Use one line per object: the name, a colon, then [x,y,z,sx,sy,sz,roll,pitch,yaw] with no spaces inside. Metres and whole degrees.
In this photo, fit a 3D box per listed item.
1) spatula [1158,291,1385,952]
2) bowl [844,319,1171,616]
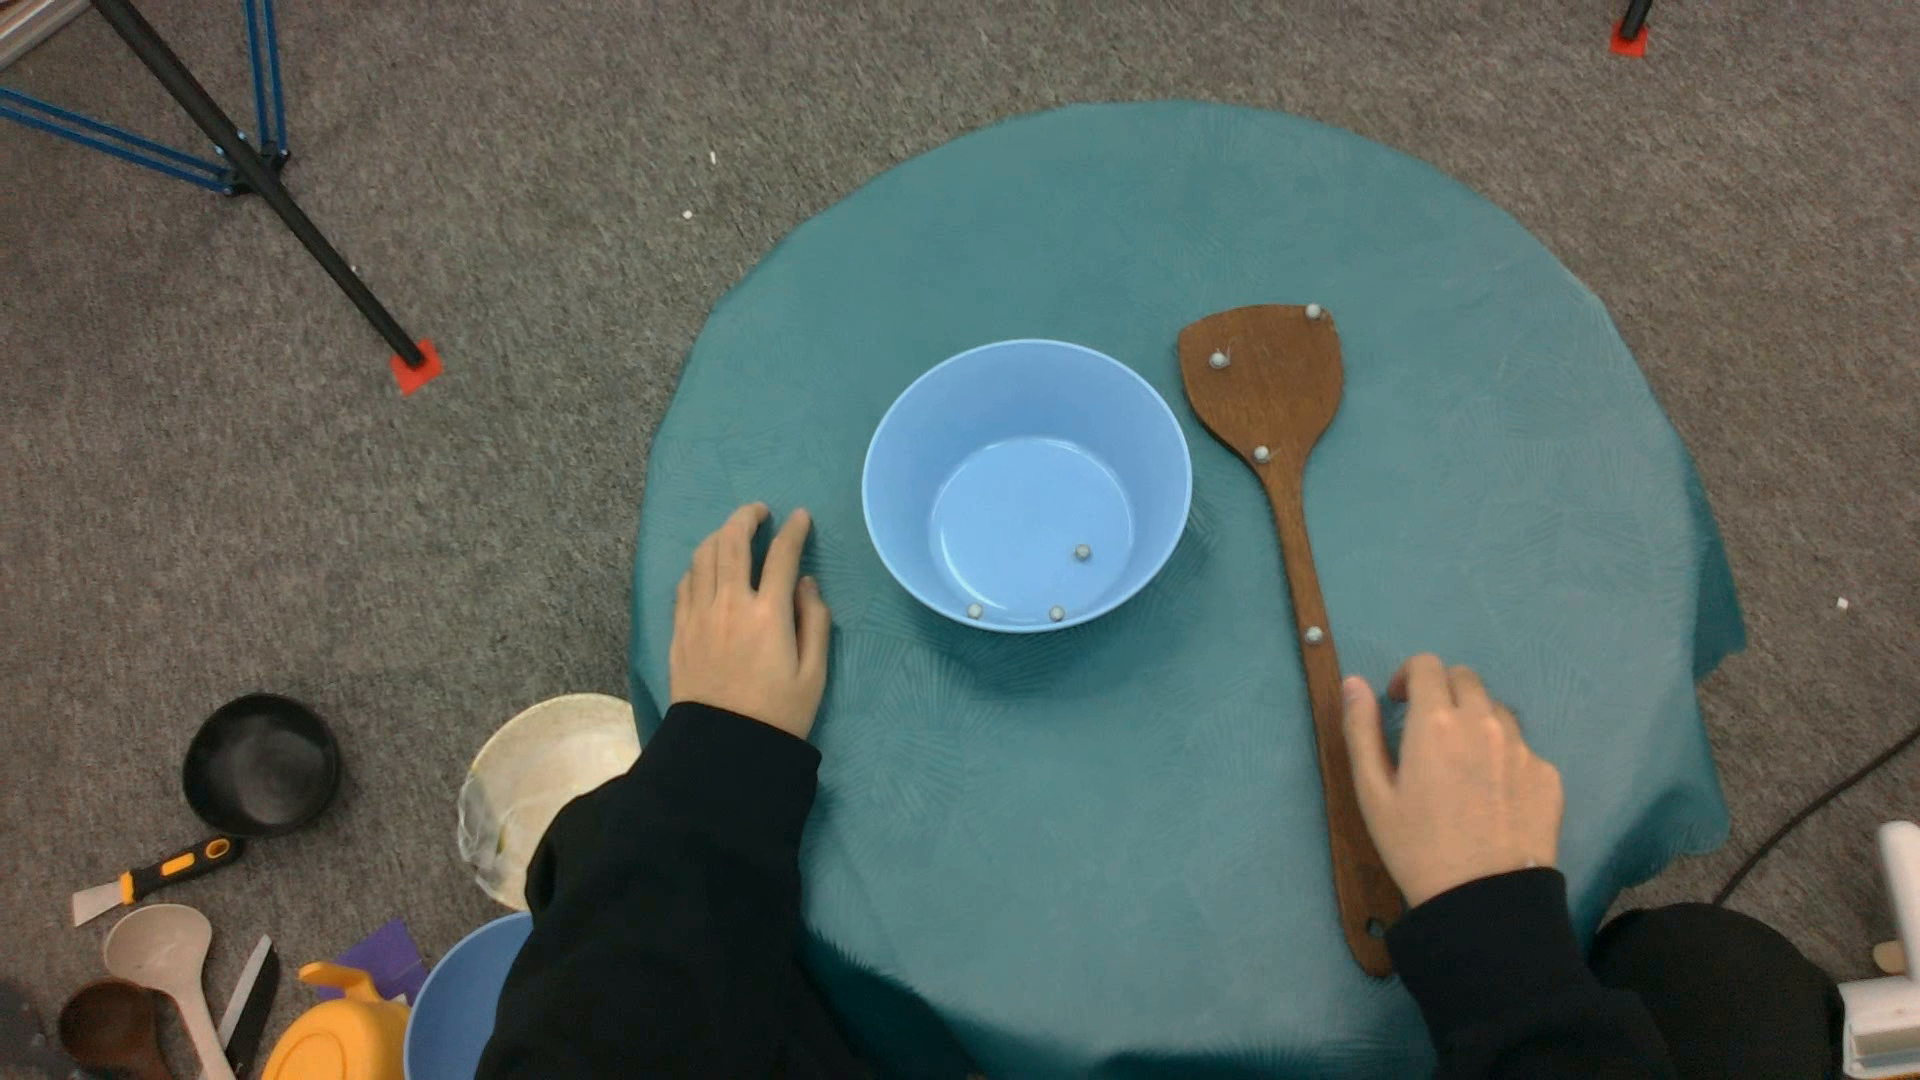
spatula: [0.180,0.025,0.752,0.096,0.016,0.387,-7,64,2]
bowl: [0.027,-0.030,0.761,0.176,0.070,0.176,-2,66,4]
